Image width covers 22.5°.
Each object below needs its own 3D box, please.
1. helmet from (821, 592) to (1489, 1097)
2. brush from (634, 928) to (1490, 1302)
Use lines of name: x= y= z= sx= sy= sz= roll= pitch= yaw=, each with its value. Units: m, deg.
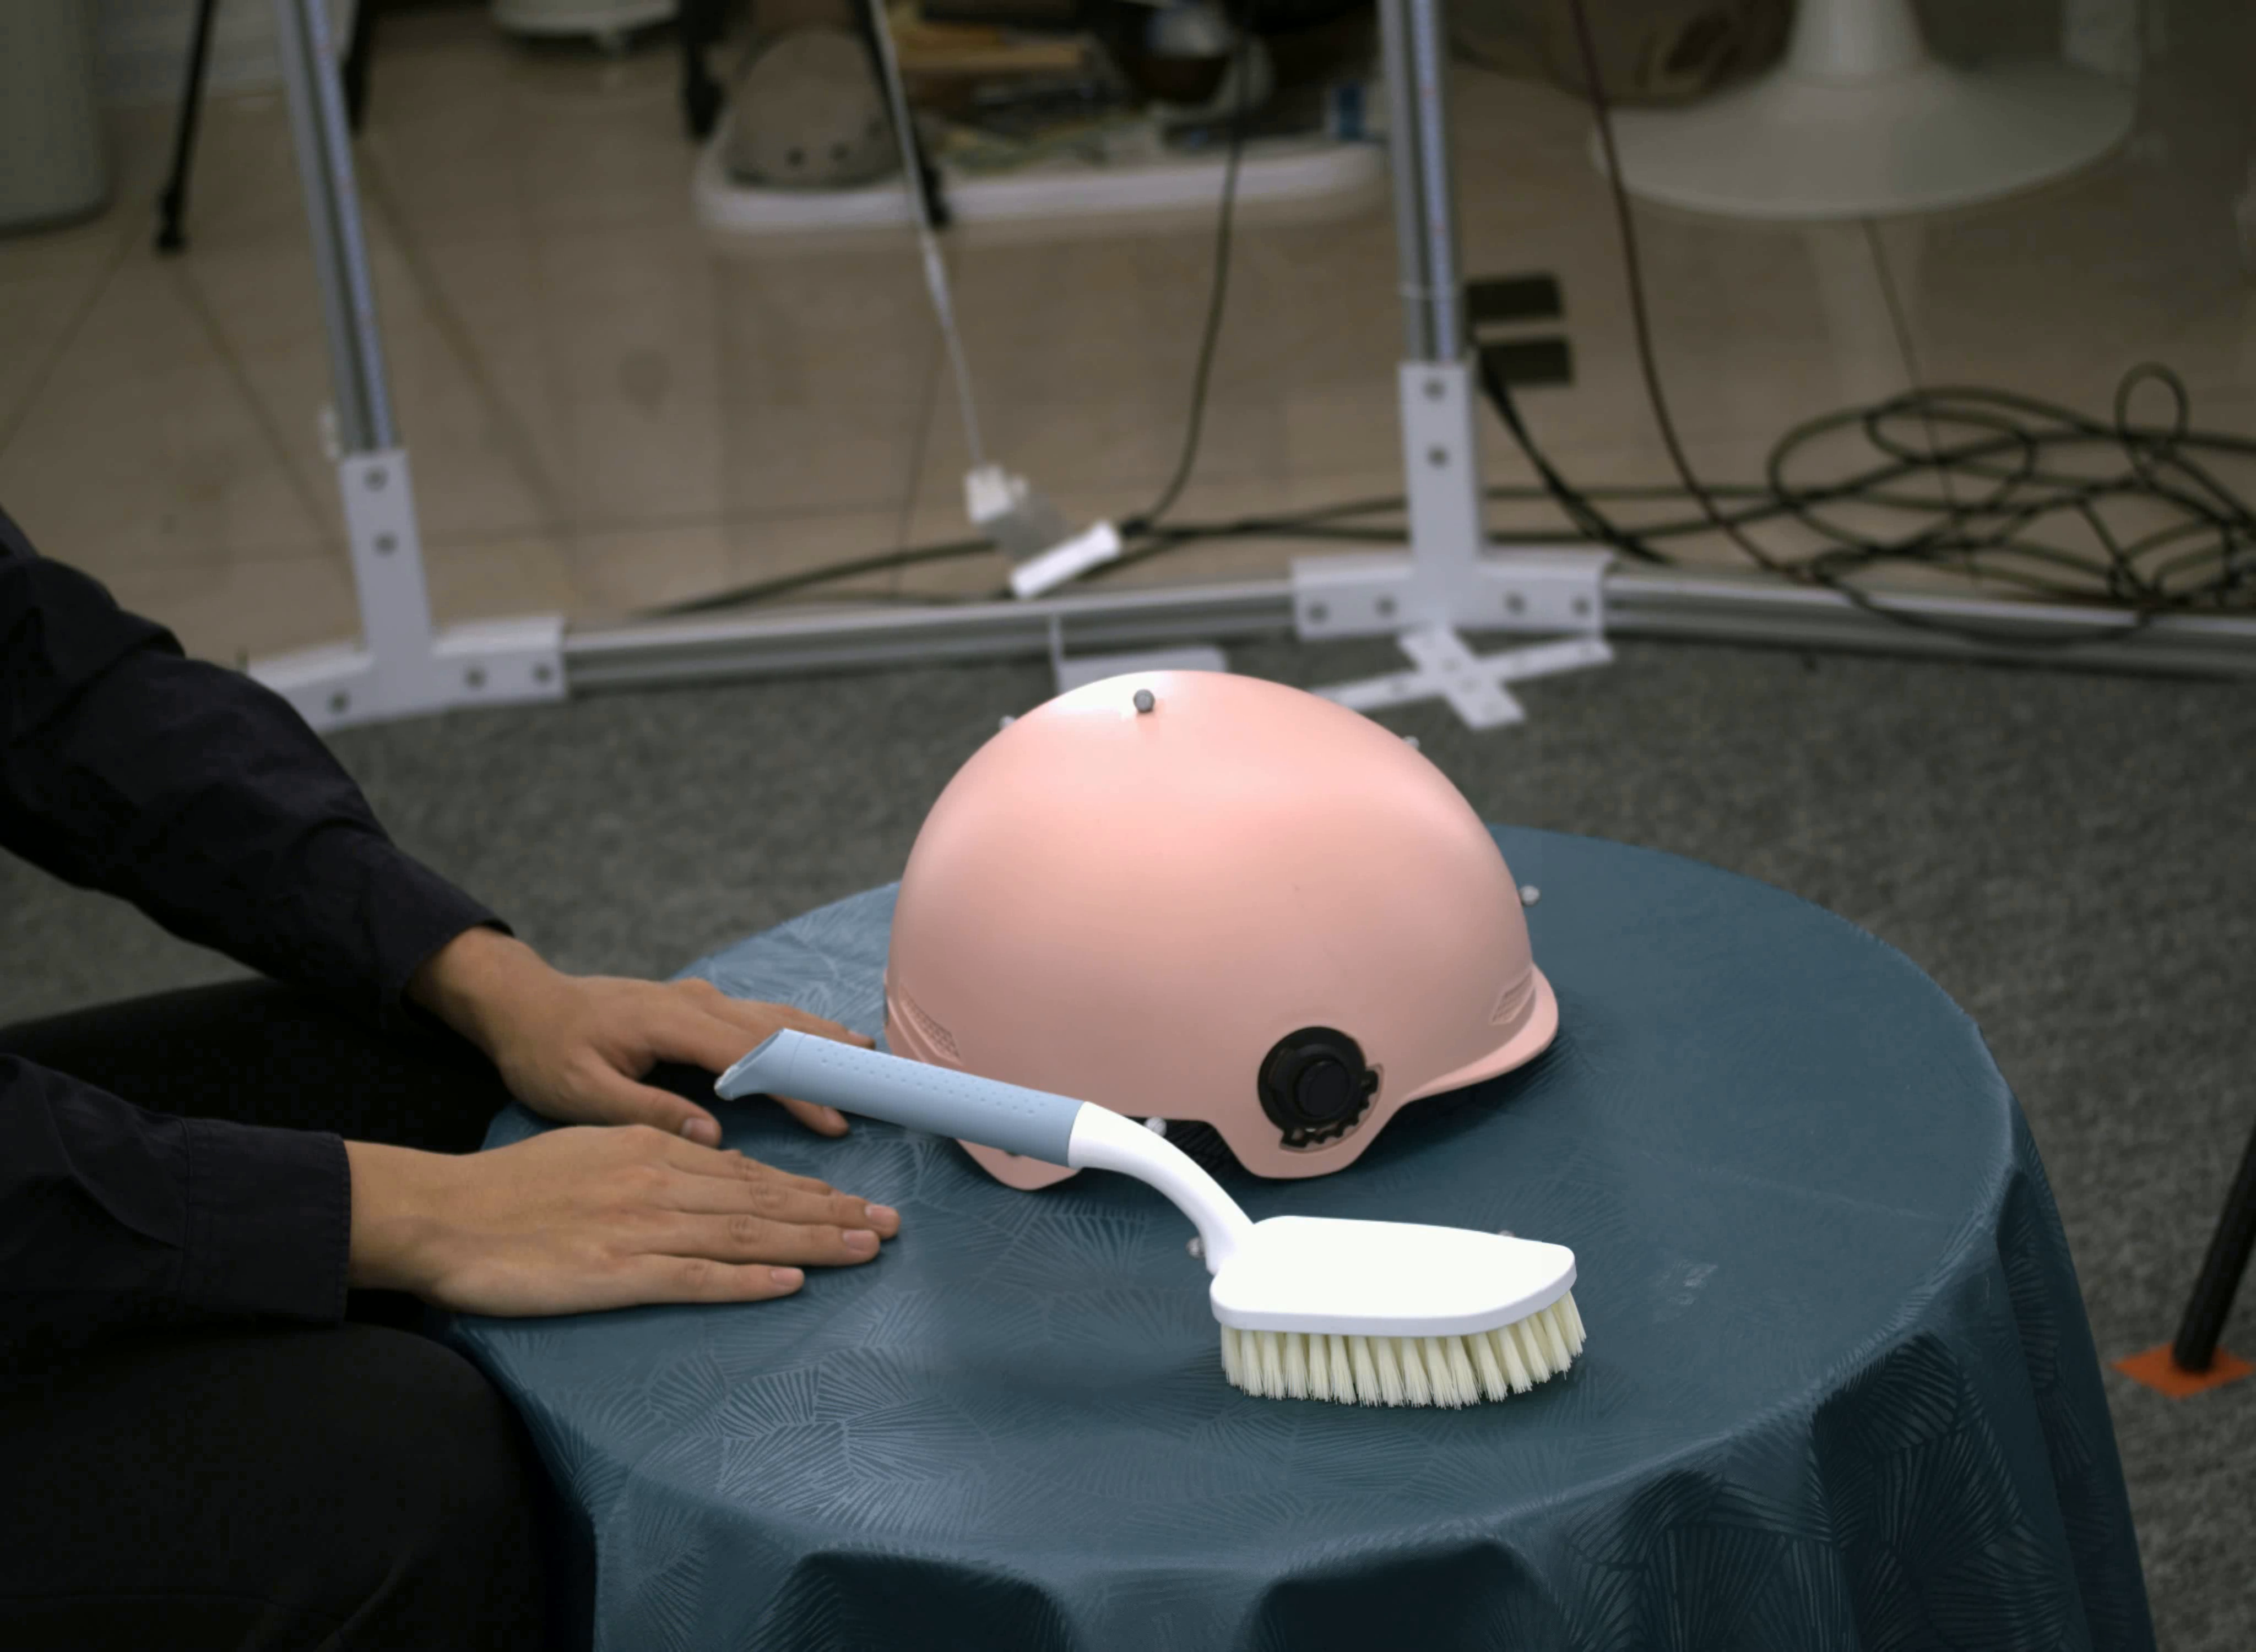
helmet: x=0.010 y=-0.008 z=2.227 sx=0.265 sy=0.161 sz=0.230 roll=-4 pitch=25 yaw=-5
brush: x=-0.027 y=0.115 z=2.054 sx=0.324 sy=0.084 sz=0.083 roll=14 pitch=-6 yaw=12
